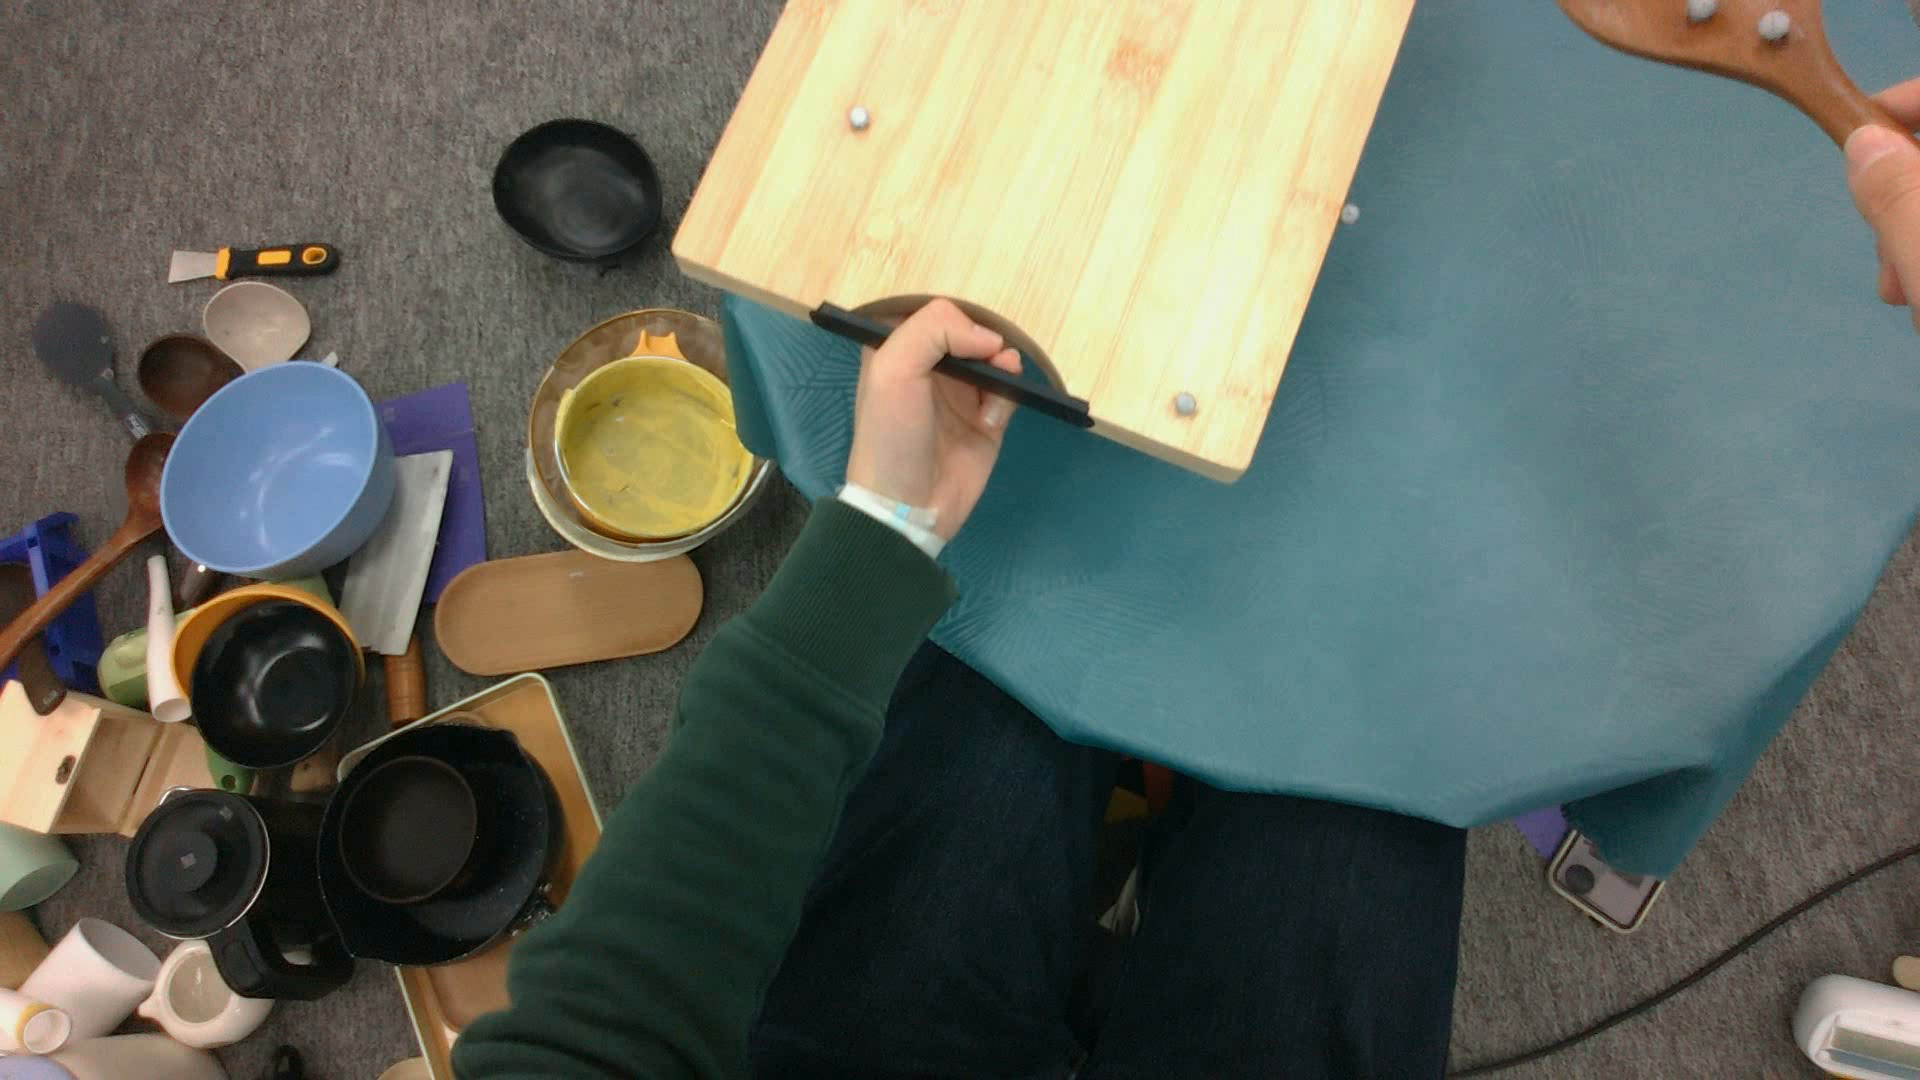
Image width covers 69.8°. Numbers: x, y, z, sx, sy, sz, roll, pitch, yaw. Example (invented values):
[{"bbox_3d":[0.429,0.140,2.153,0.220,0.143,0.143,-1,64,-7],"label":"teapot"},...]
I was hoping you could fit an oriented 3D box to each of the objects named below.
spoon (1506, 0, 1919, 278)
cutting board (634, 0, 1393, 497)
[{"bbox_3d":[0.240,-0.137,0.408,0.075,0.017,0.216,-37,56,17],"label":"spoon"},{"bbox_3d":[0.047,-0.214,0.578,0.250,0.023,0.349,19,75,3],"label":"cutting board"}]
